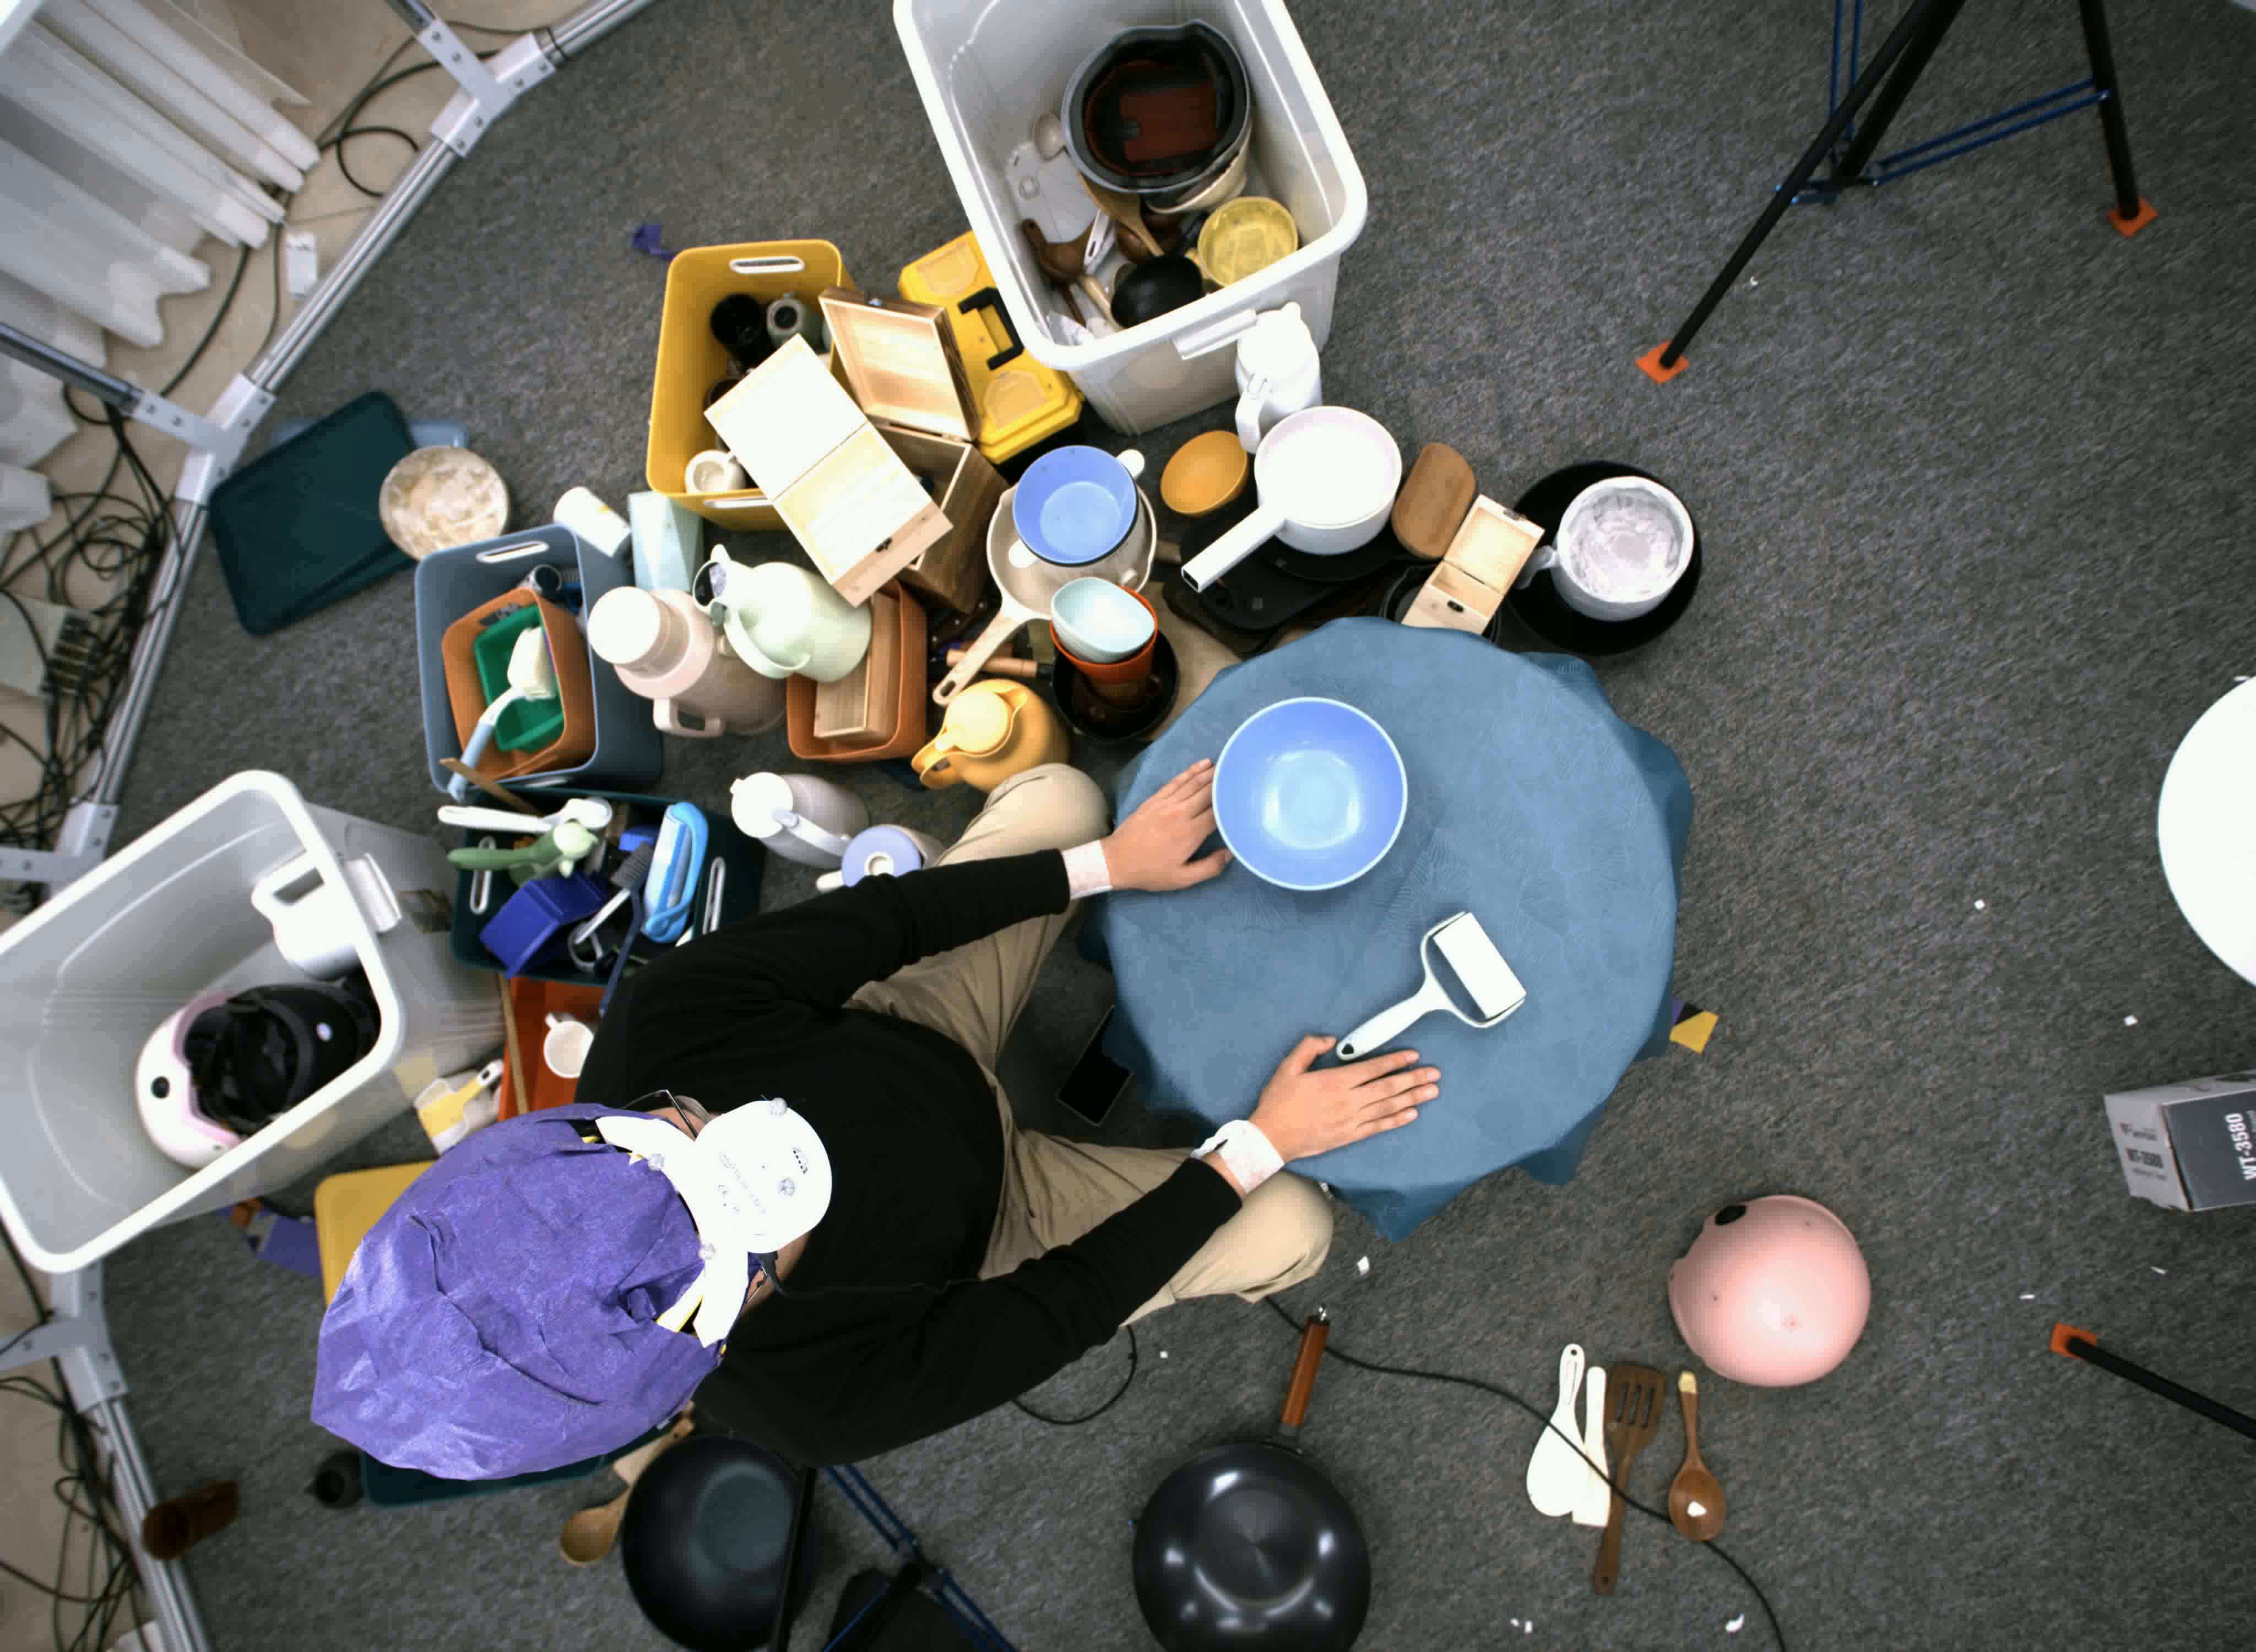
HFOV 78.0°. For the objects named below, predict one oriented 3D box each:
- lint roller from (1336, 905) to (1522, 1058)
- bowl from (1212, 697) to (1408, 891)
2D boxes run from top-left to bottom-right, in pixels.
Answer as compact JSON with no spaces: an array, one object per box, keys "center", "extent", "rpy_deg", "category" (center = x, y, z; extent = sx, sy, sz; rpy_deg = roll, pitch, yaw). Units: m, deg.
[{"center":[0.296,0.176,1.427],"extent":[0.199,0.048,0.116],"rpy_deg":[-35,83,8],"category":"lint roller"},{"center":[0.189,-0.030,1.432],"extent":[0.197,0.095,0.196],"rpy_deg":[-1,87,10],"category":"bowl"}]
